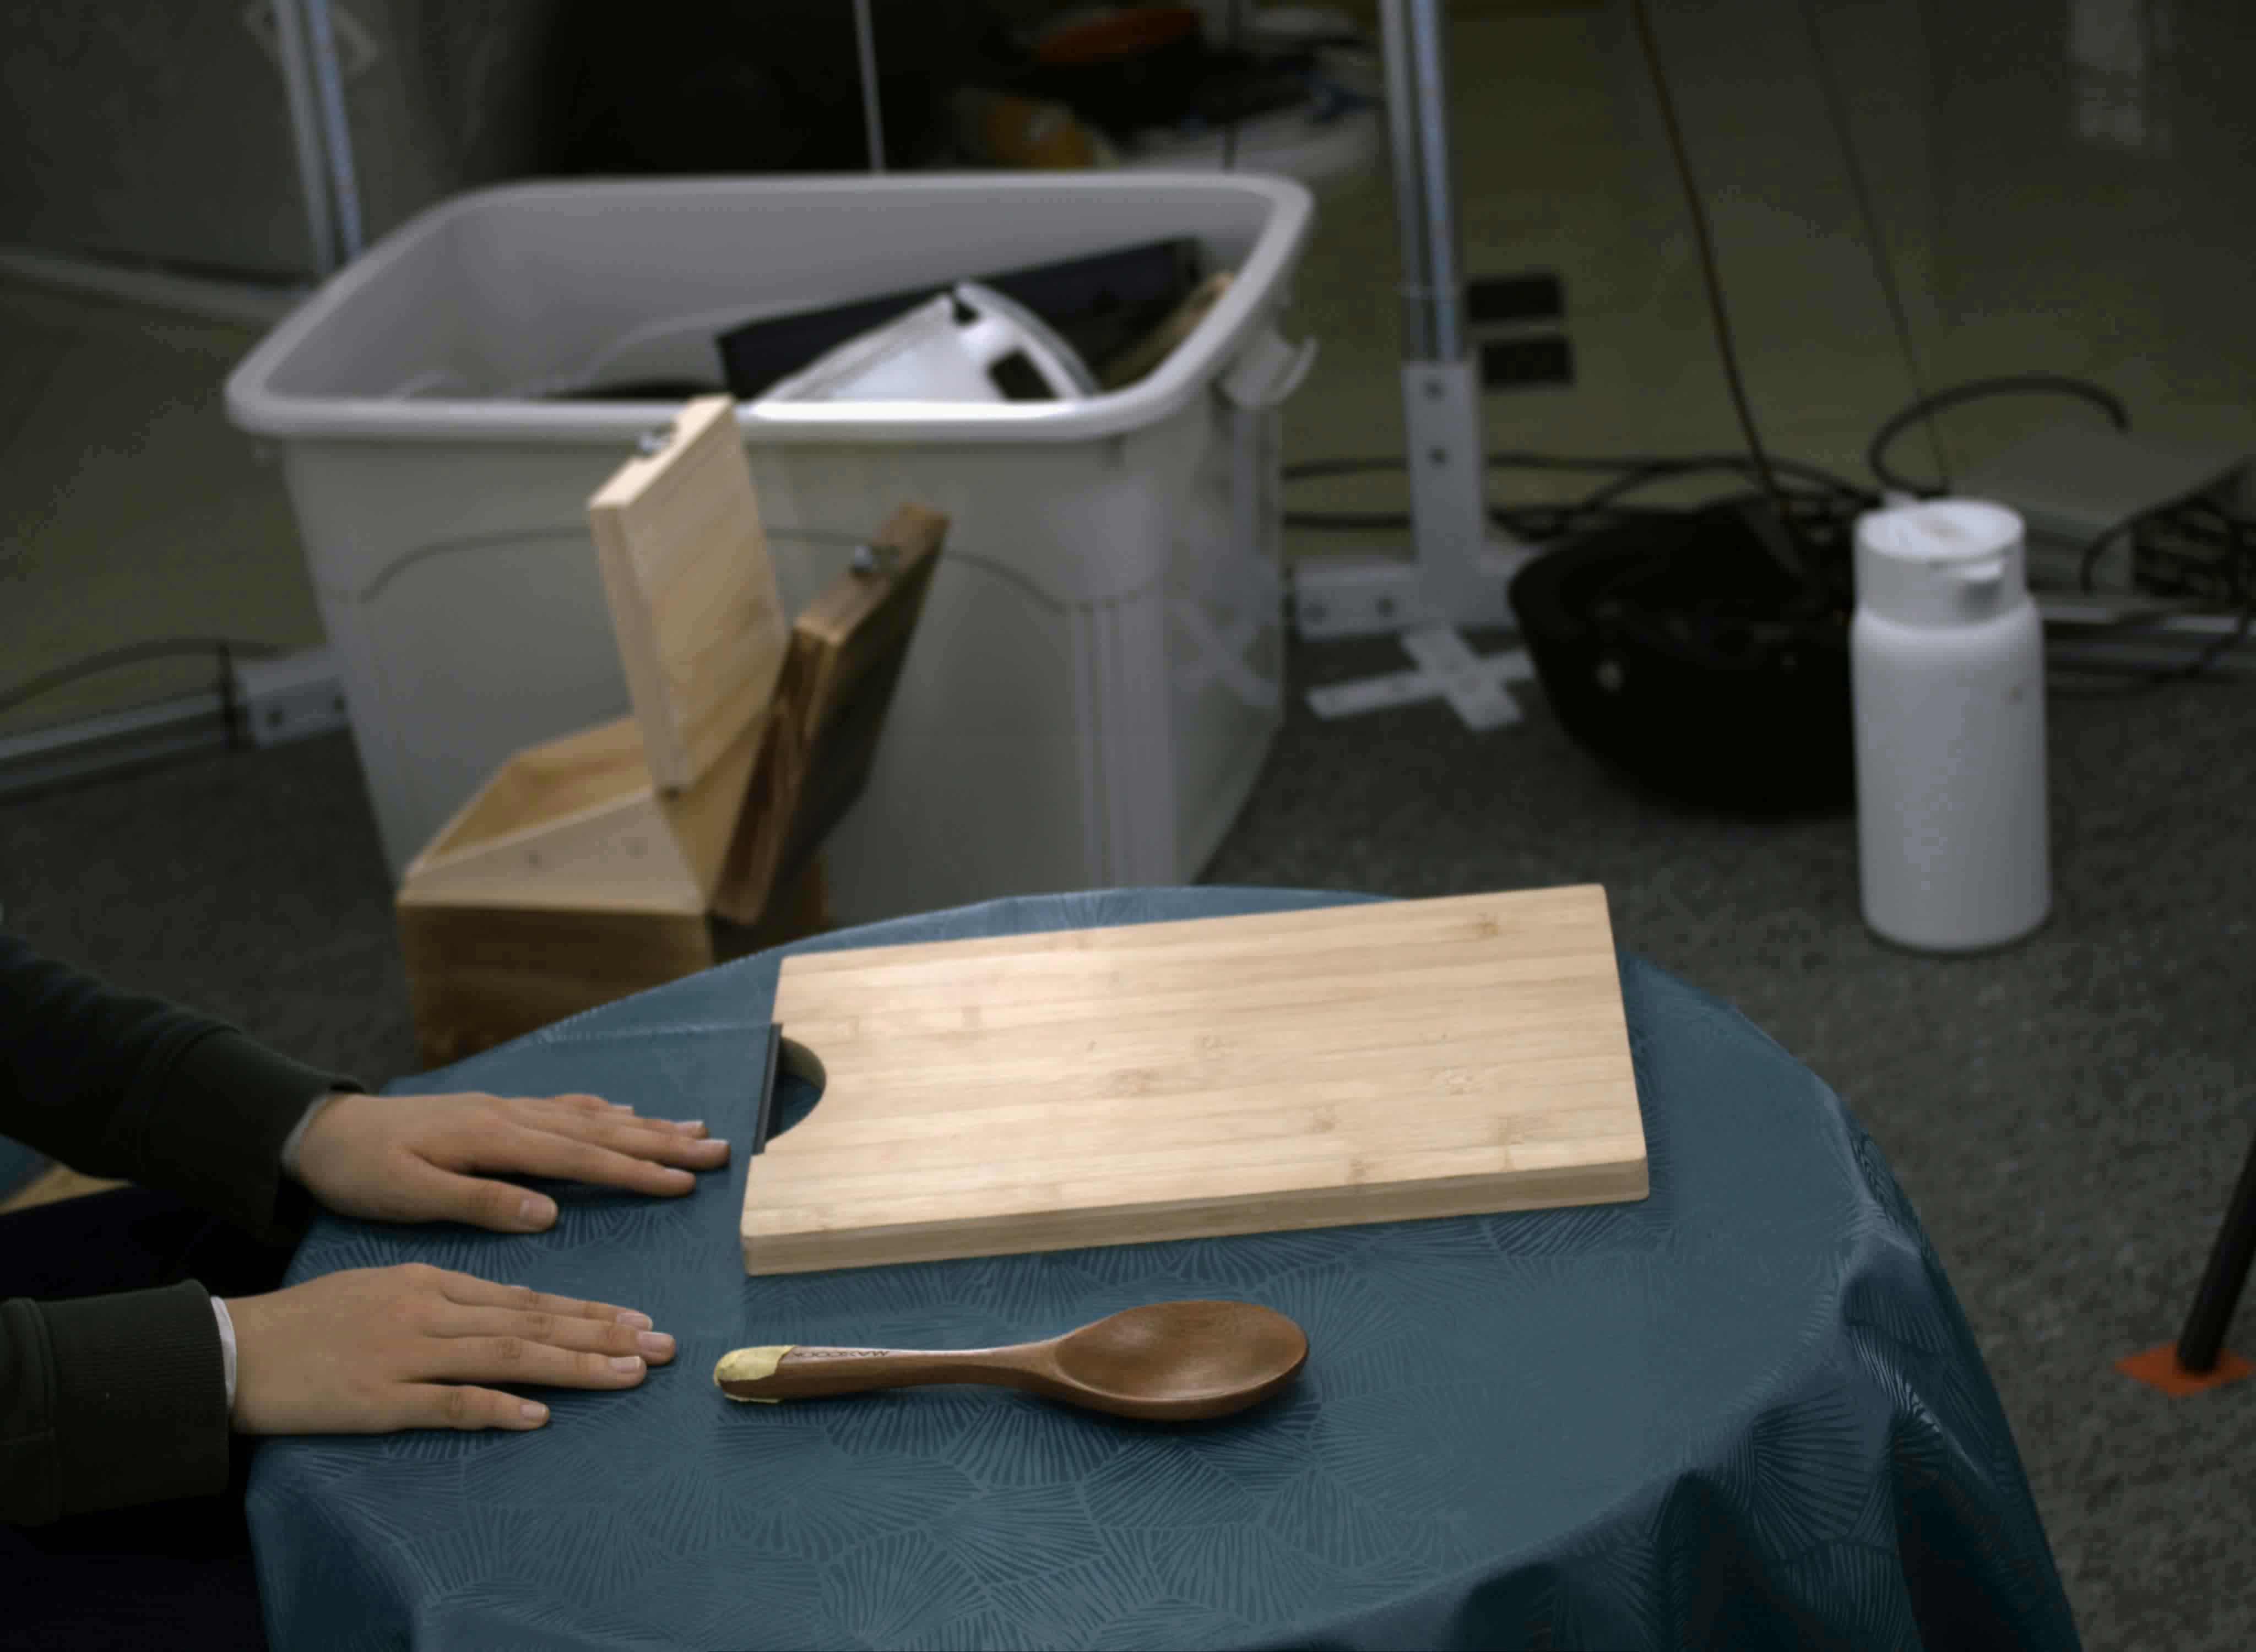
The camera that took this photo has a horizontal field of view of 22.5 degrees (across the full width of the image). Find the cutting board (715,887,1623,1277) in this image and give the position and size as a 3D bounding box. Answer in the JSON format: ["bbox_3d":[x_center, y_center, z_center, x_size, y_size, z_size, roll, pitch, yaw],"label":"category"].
[{"bbox_3d":[0.019,0.098,2.218,0.348,0.024,0.247,-5,24,2],"label":"cutting board"}]

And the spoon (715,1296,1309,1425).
[{"bbox_3d":[-0.042,0.193,2.026,0.215,0.017,0.074,-1,27,10],"label":"spoon"}]
